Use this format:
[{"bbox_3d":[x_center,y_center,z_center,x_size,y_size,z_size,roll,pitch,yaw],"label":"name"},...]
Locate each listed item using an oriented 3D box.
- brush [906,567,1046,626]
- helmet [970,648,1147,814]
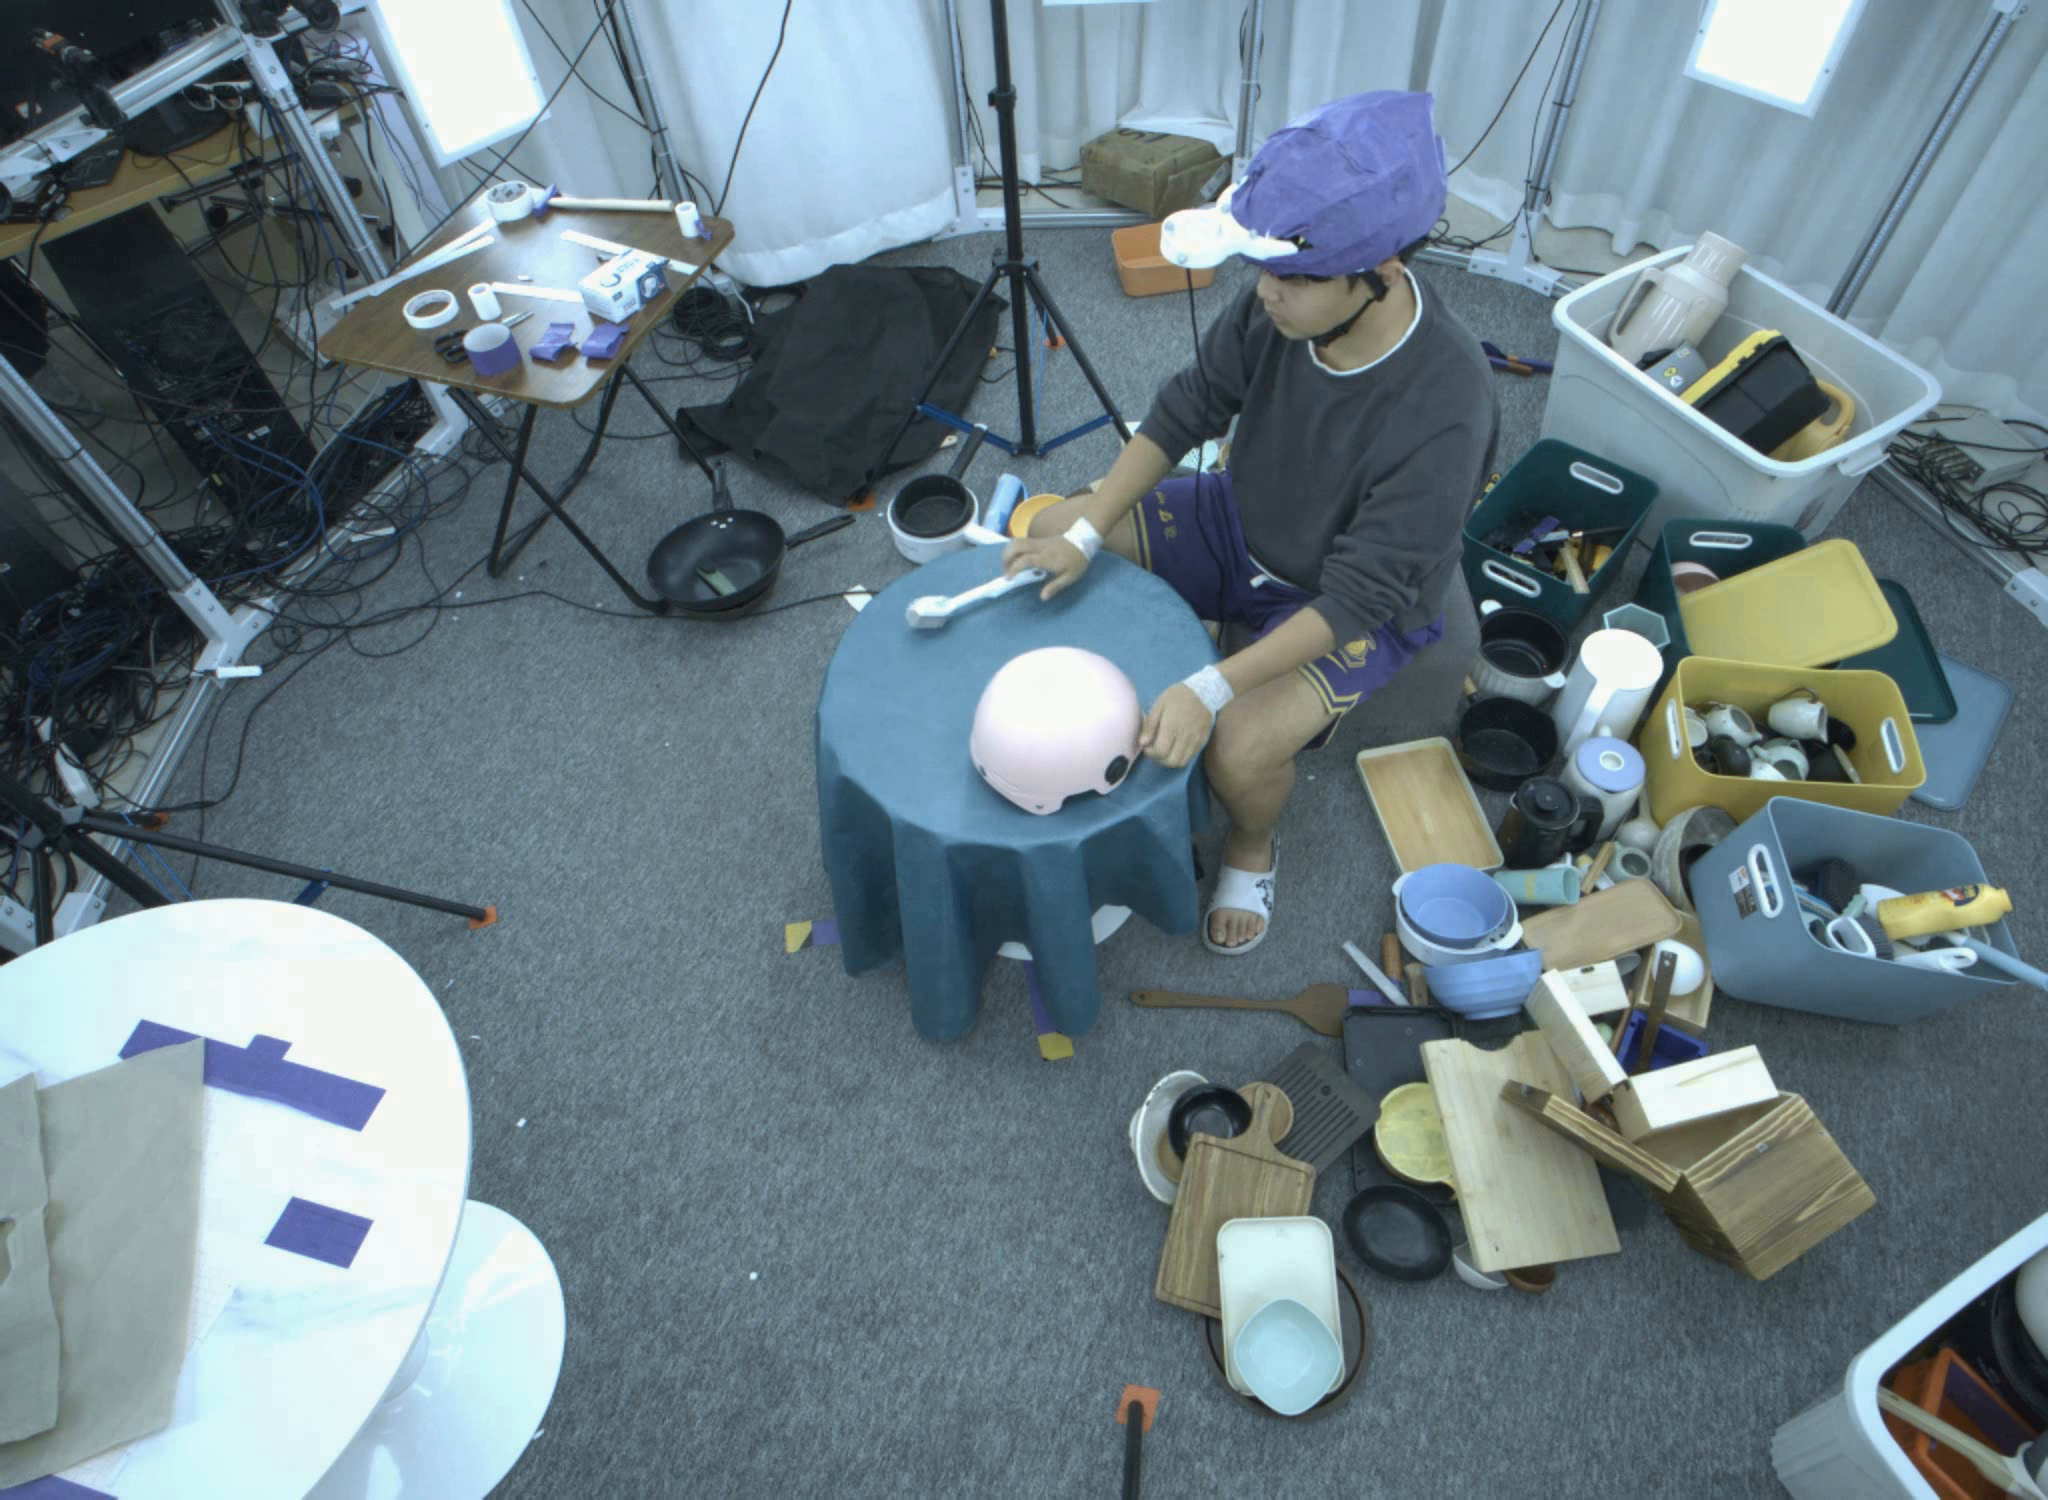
[{"bbox_3d":[-0.075,-0.242,1.951,0.247,0.050,0.034,-19,55,-27],"label":"brush"},{"bbox_3d":[0.051,-0.054,1.735,0.268,0.160,0.229,-27,56,-21],"label":"helmet"}]
